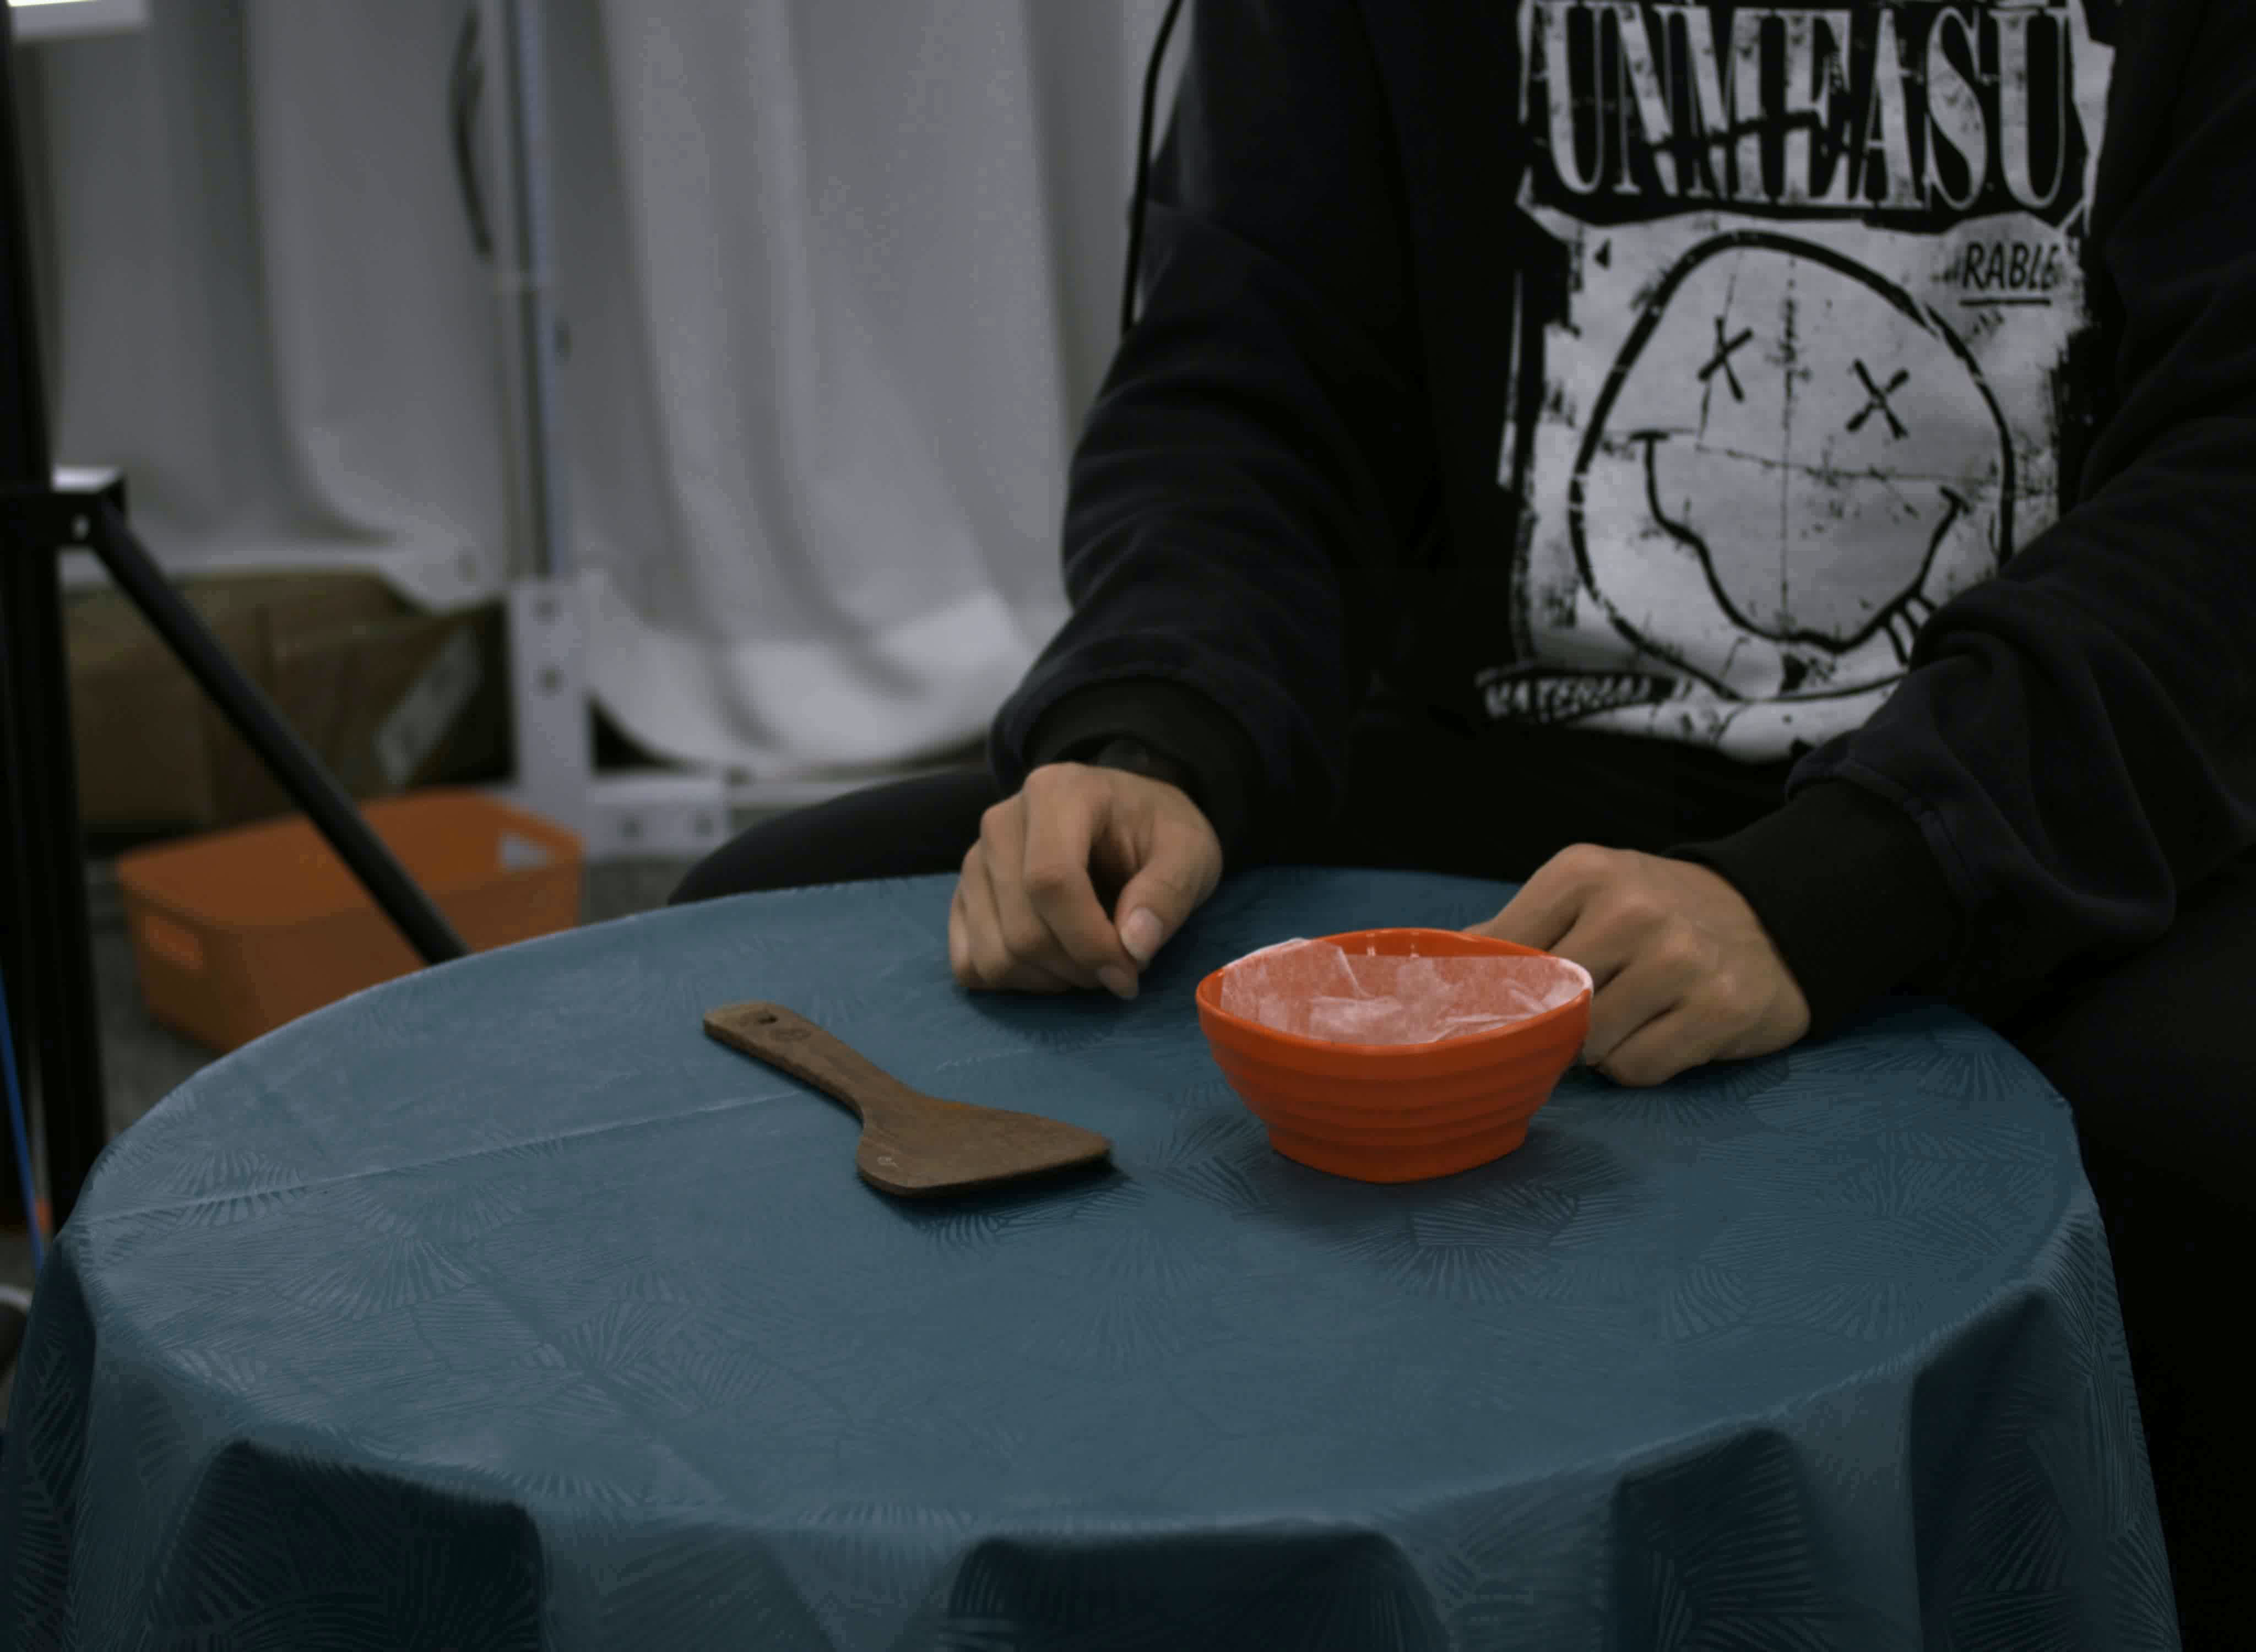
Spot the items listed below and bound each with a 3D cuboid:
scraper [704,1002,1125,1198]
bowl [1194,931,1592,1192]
[{"bbox_3d":[-0.078,0.083,1.645,0.074,0.011,0.216,-10,17,-26],"label":"scraper"},{"bbox_3d":[0.080,0.072,1.583,0.118,0.051,0.119,-4,16,0],"label":"bowl"}]
